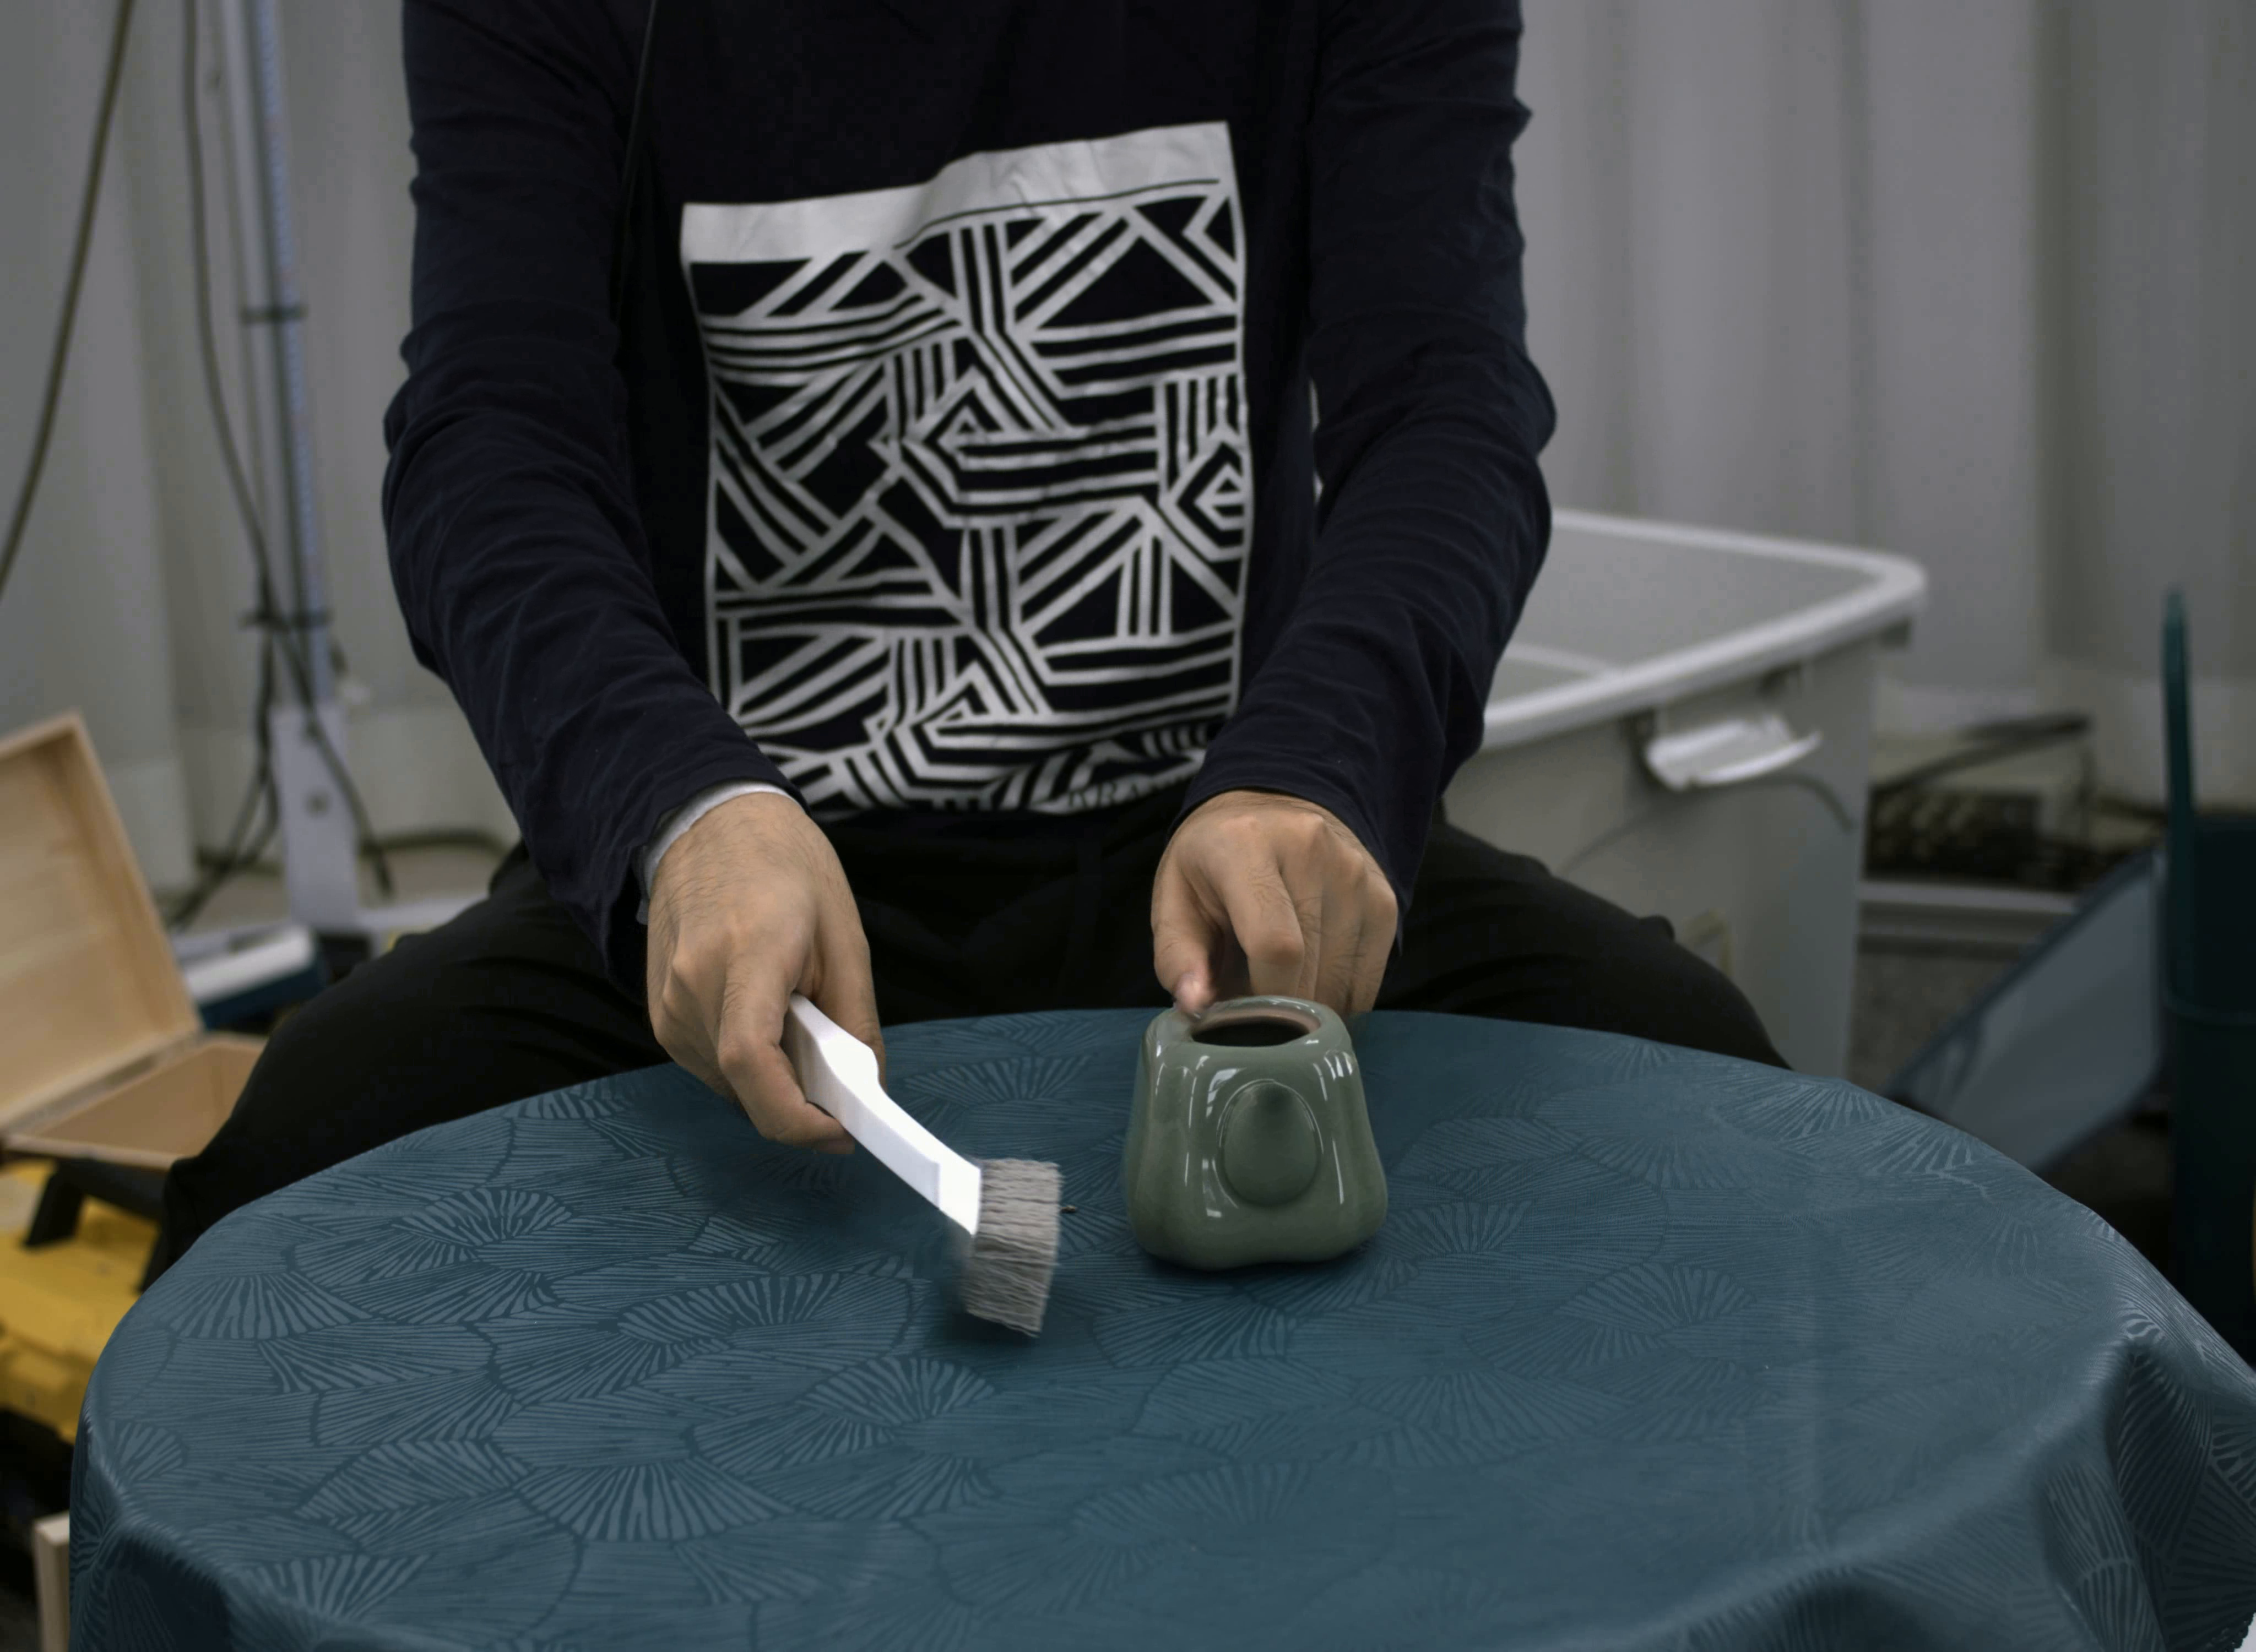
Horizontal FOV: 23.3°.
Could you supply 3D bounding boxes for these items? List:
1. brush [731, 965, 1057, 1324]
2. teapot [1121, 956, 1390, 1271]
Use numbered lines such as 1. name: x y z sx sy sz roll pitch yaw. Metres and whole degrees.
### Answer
1. brush: -0.069 0.093 1.682 0.050 0.034 0.246 3 17 -21
2. teapot: 0.038 0.090 1.657 0.079 0.075 0.133 -5 15 -7
